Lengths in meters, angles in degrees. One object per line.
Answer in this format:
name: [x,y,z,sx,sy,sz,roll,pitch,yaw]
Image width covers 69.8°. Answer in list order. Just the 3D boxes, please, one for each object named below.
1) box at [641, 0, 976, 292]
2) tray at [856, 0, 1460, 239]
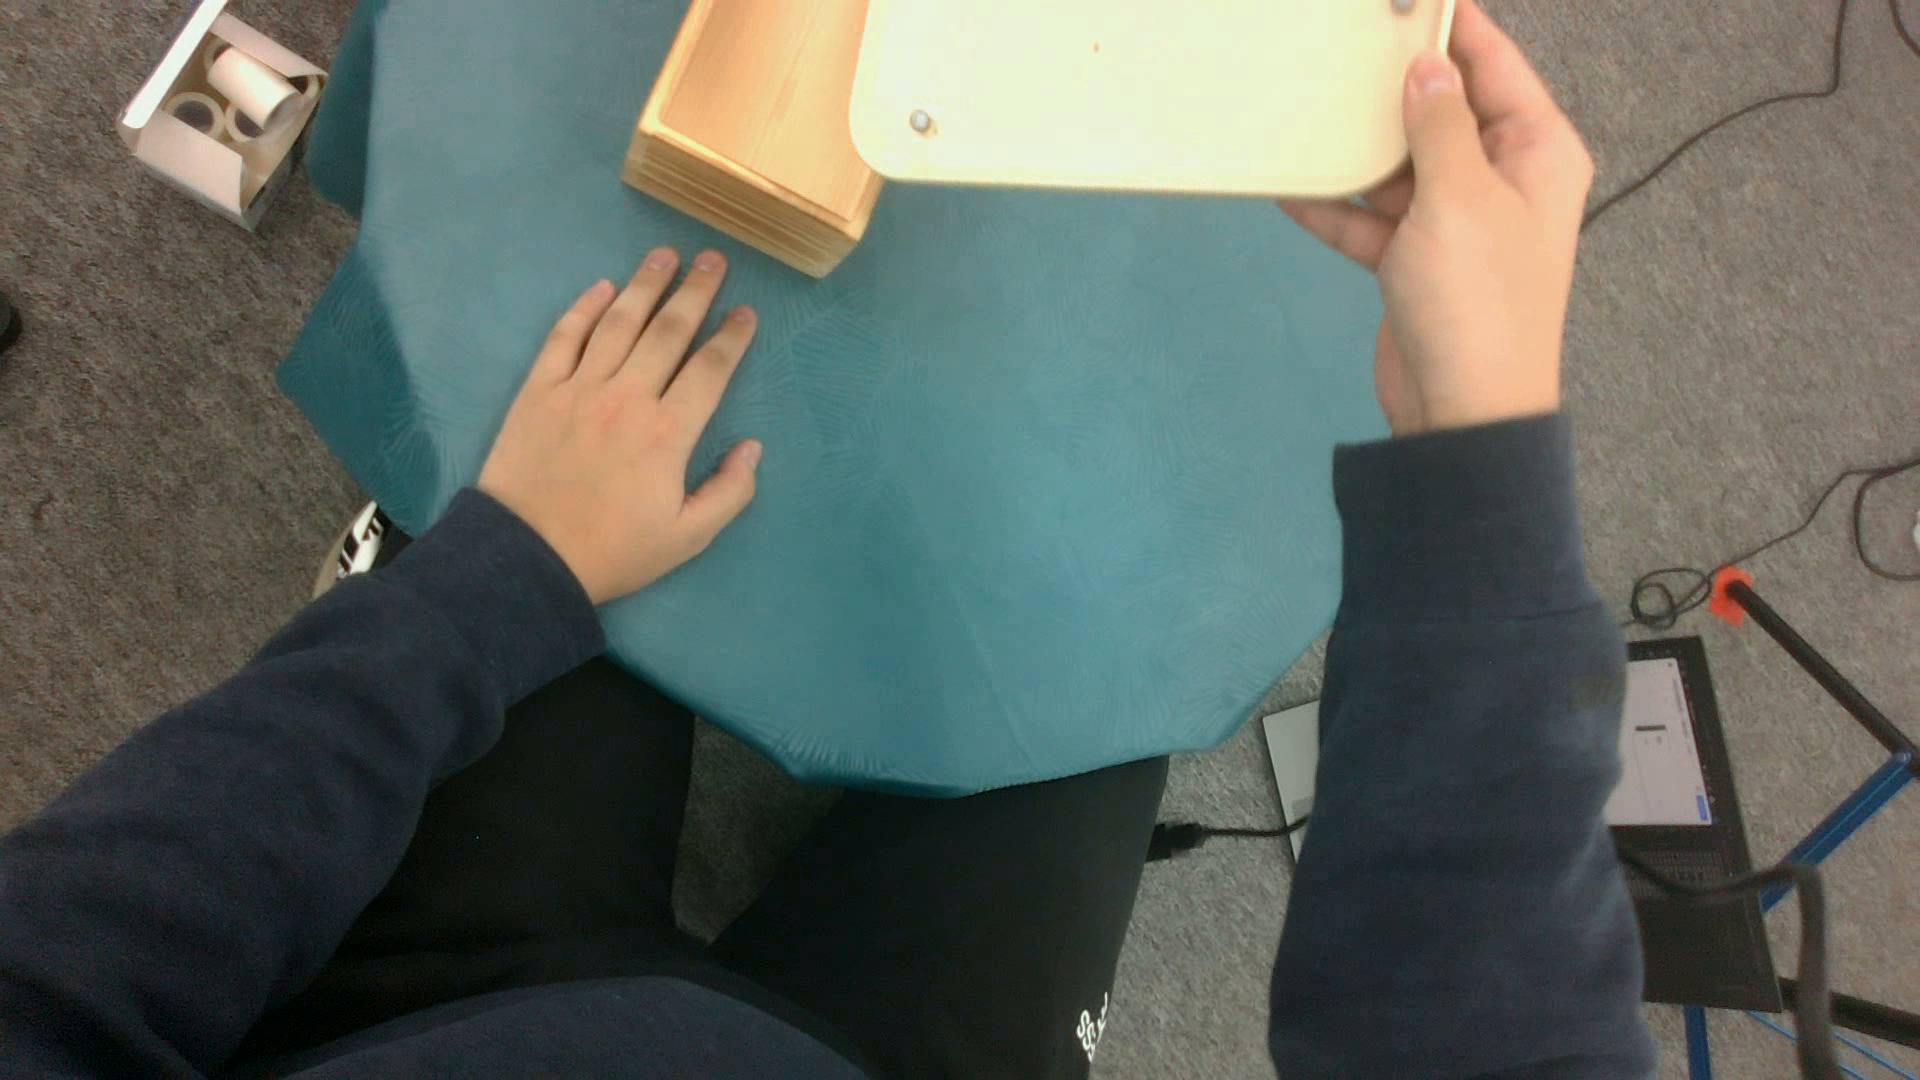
box: [-0.062,-0.244,0.675,0.107,0.080,0.212,24,79,-15]
tray: [0.075,-0.209,0.549,0.239,0.017,0.171,12,89,25]
